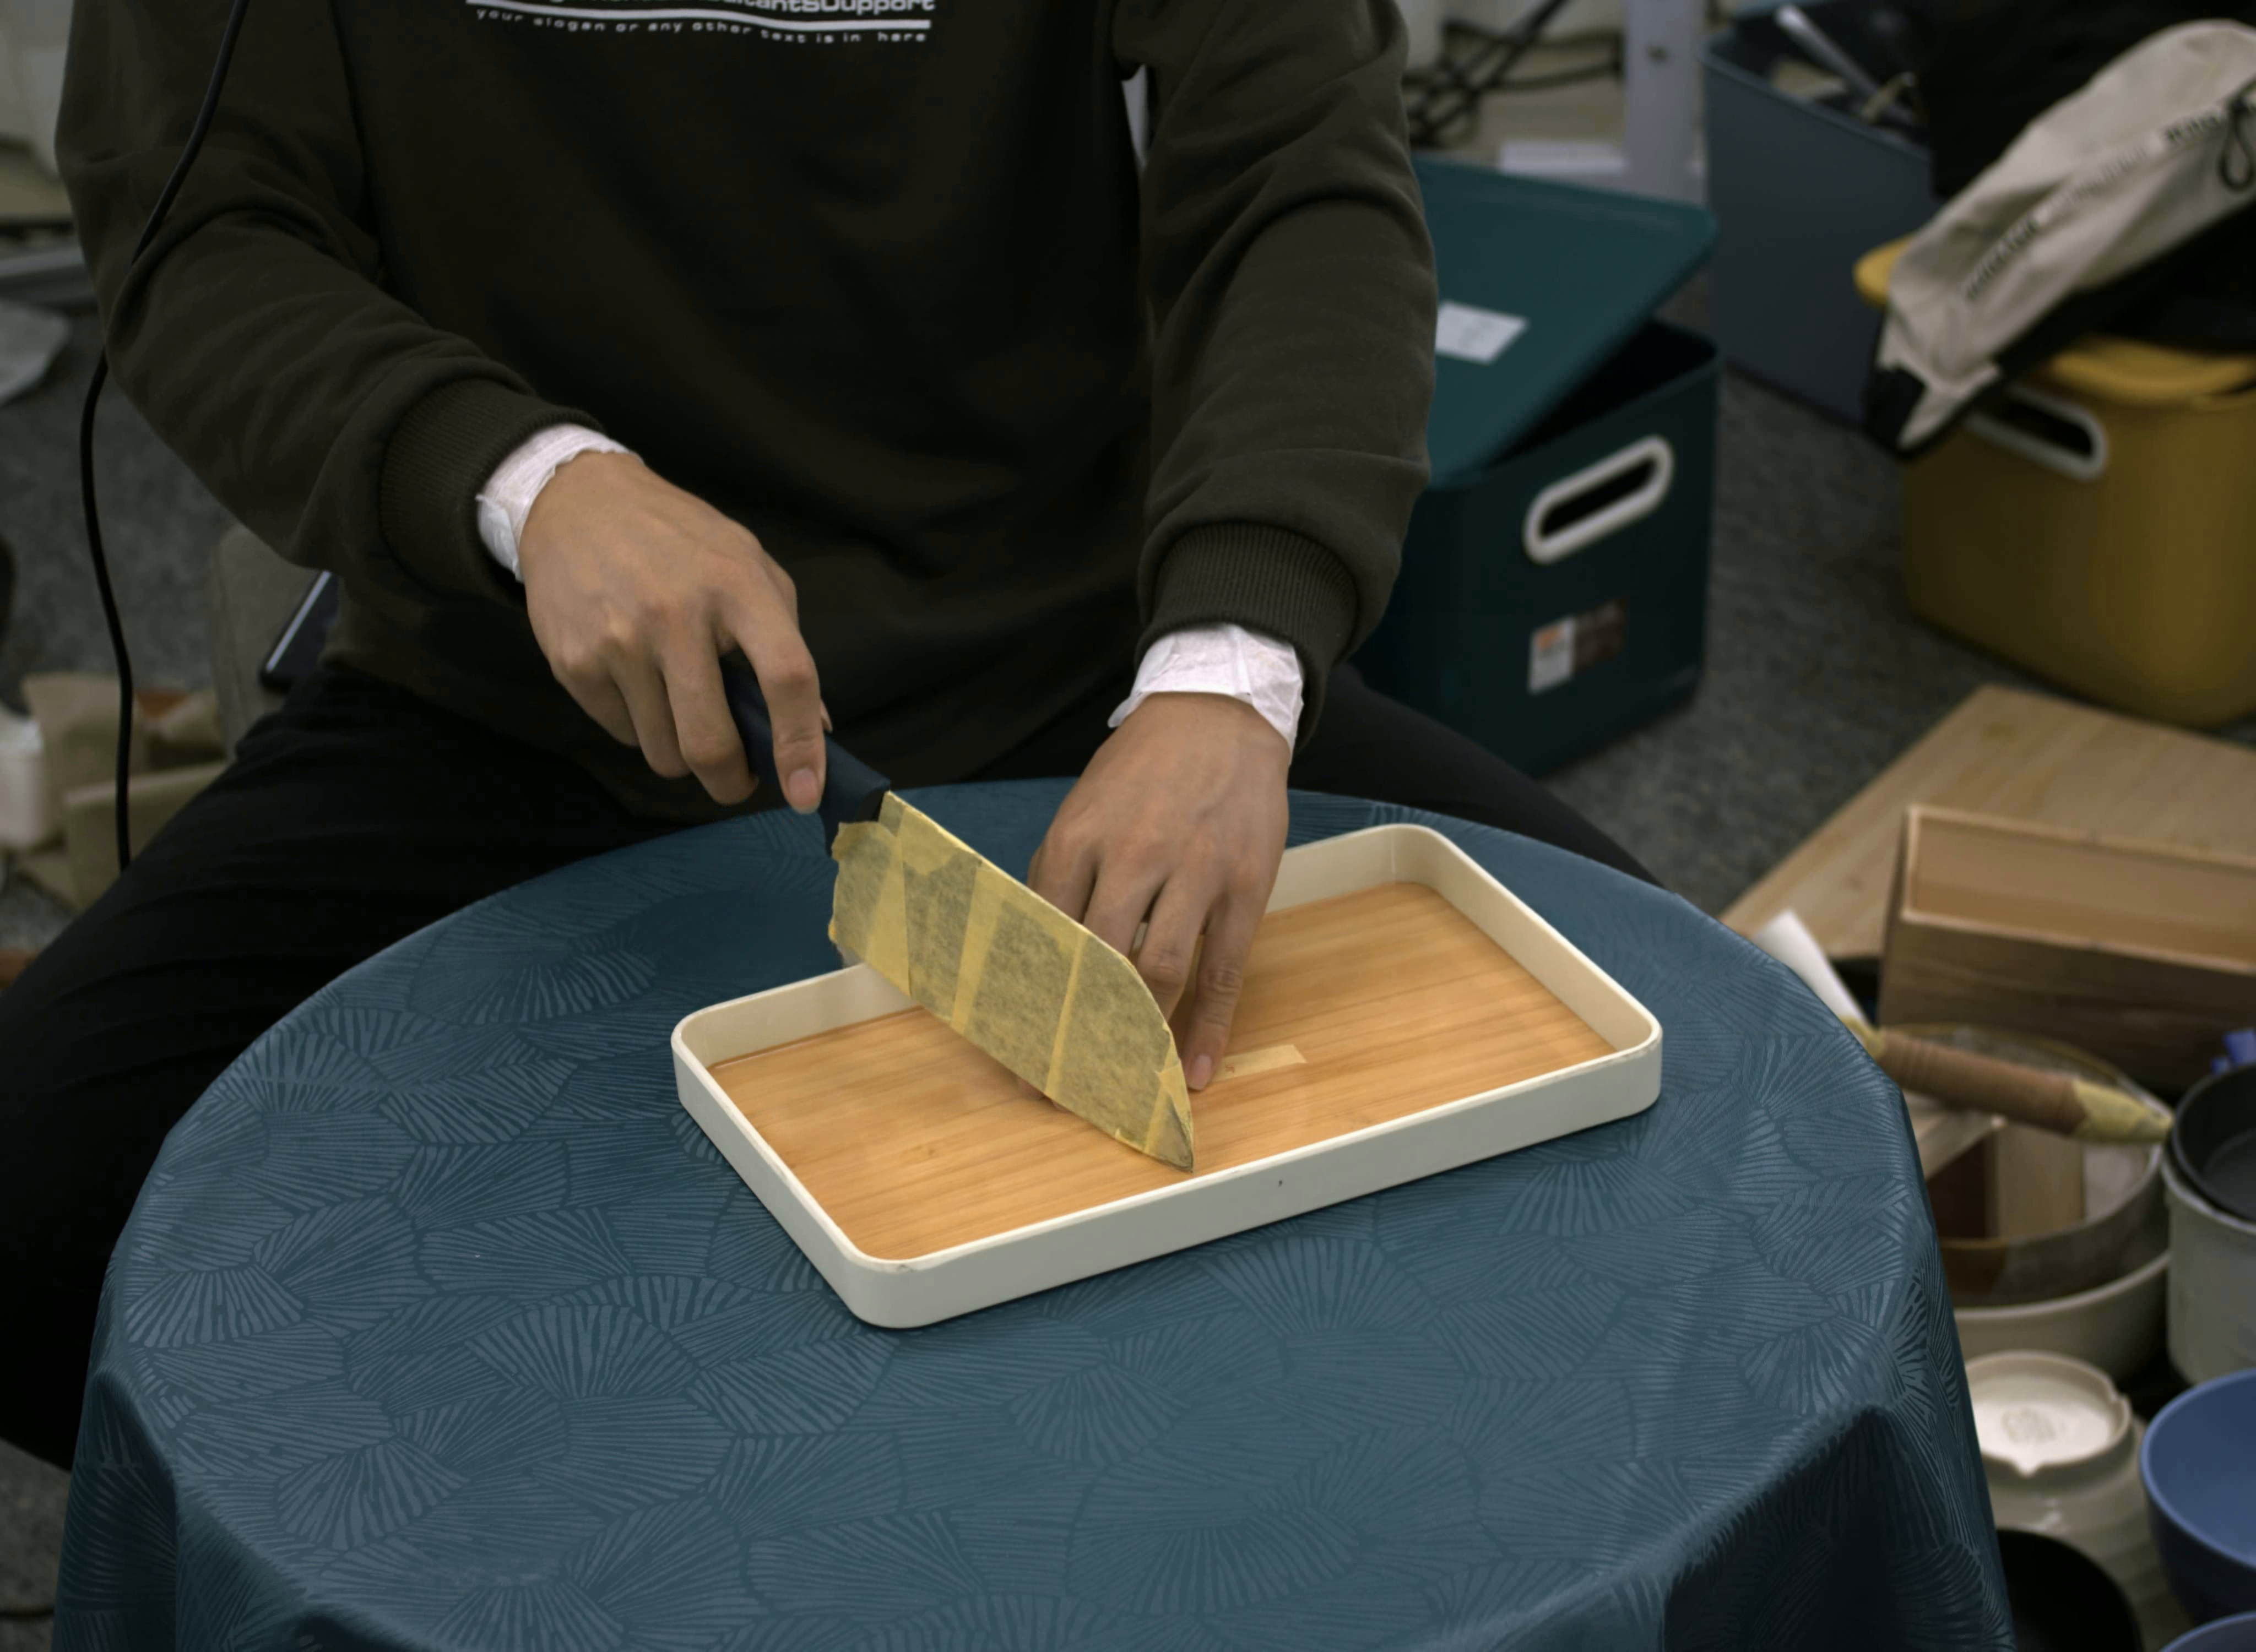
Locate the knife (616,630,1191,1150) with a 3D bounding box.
[{"bbox_3d":[-0.078,0.021,1.918,0.027,0.080,0.290,-20,47,-43],"label":"knife"}]

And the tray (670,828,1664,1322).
[{"bbox_3d":[0.012,0.080,1.911,0.301,0.027,0.193,-14,29,-22],"label":"tray"}]
